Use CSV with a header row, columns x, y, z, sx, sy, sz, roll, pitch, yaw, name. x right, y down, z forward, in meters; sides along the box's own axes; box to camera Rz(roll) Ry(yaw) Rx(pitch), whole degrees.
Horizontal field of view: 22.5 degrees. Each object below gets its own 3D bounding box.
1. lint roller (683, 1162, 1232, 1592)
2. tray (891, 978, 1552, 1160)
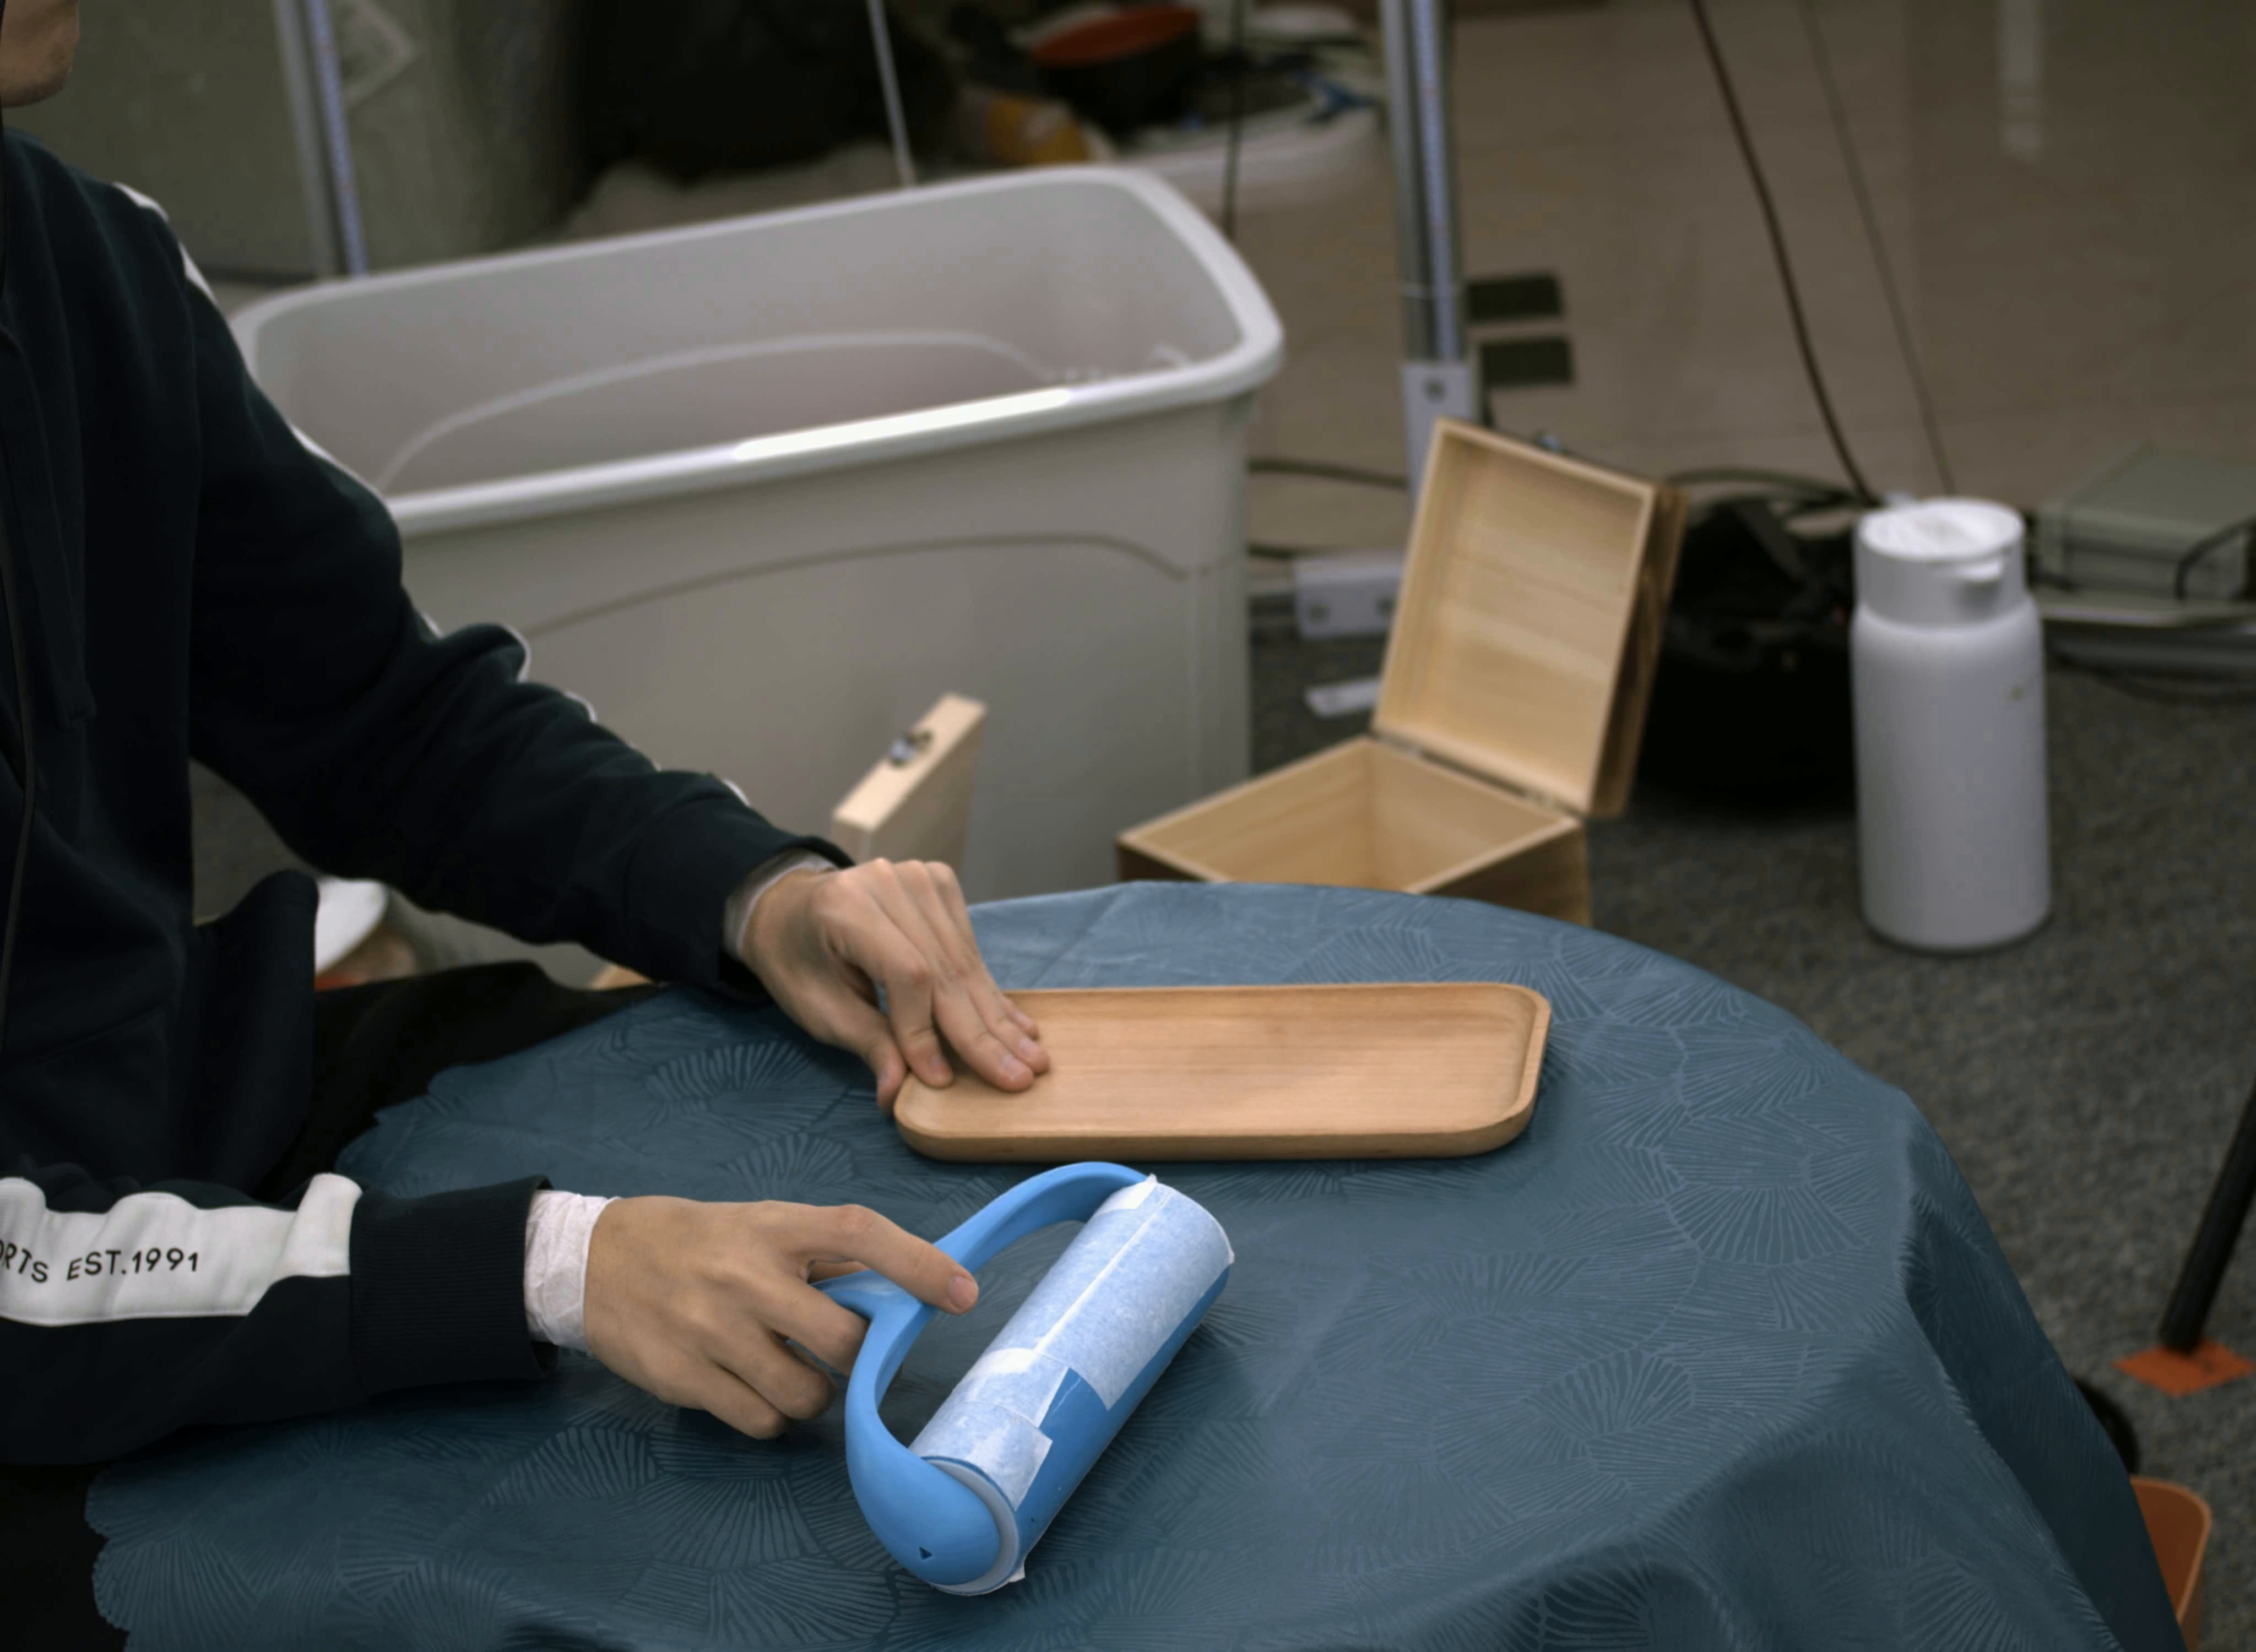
x,y,z,sx,sy,sz,roll,pitch,yaw,name
-0.078,0.187,1.991,0.180,0.069,0.226,5,29,20,lint roller
0.037,0.095,2.208,0.250,0.023,0.129,-1,23,12,tray
